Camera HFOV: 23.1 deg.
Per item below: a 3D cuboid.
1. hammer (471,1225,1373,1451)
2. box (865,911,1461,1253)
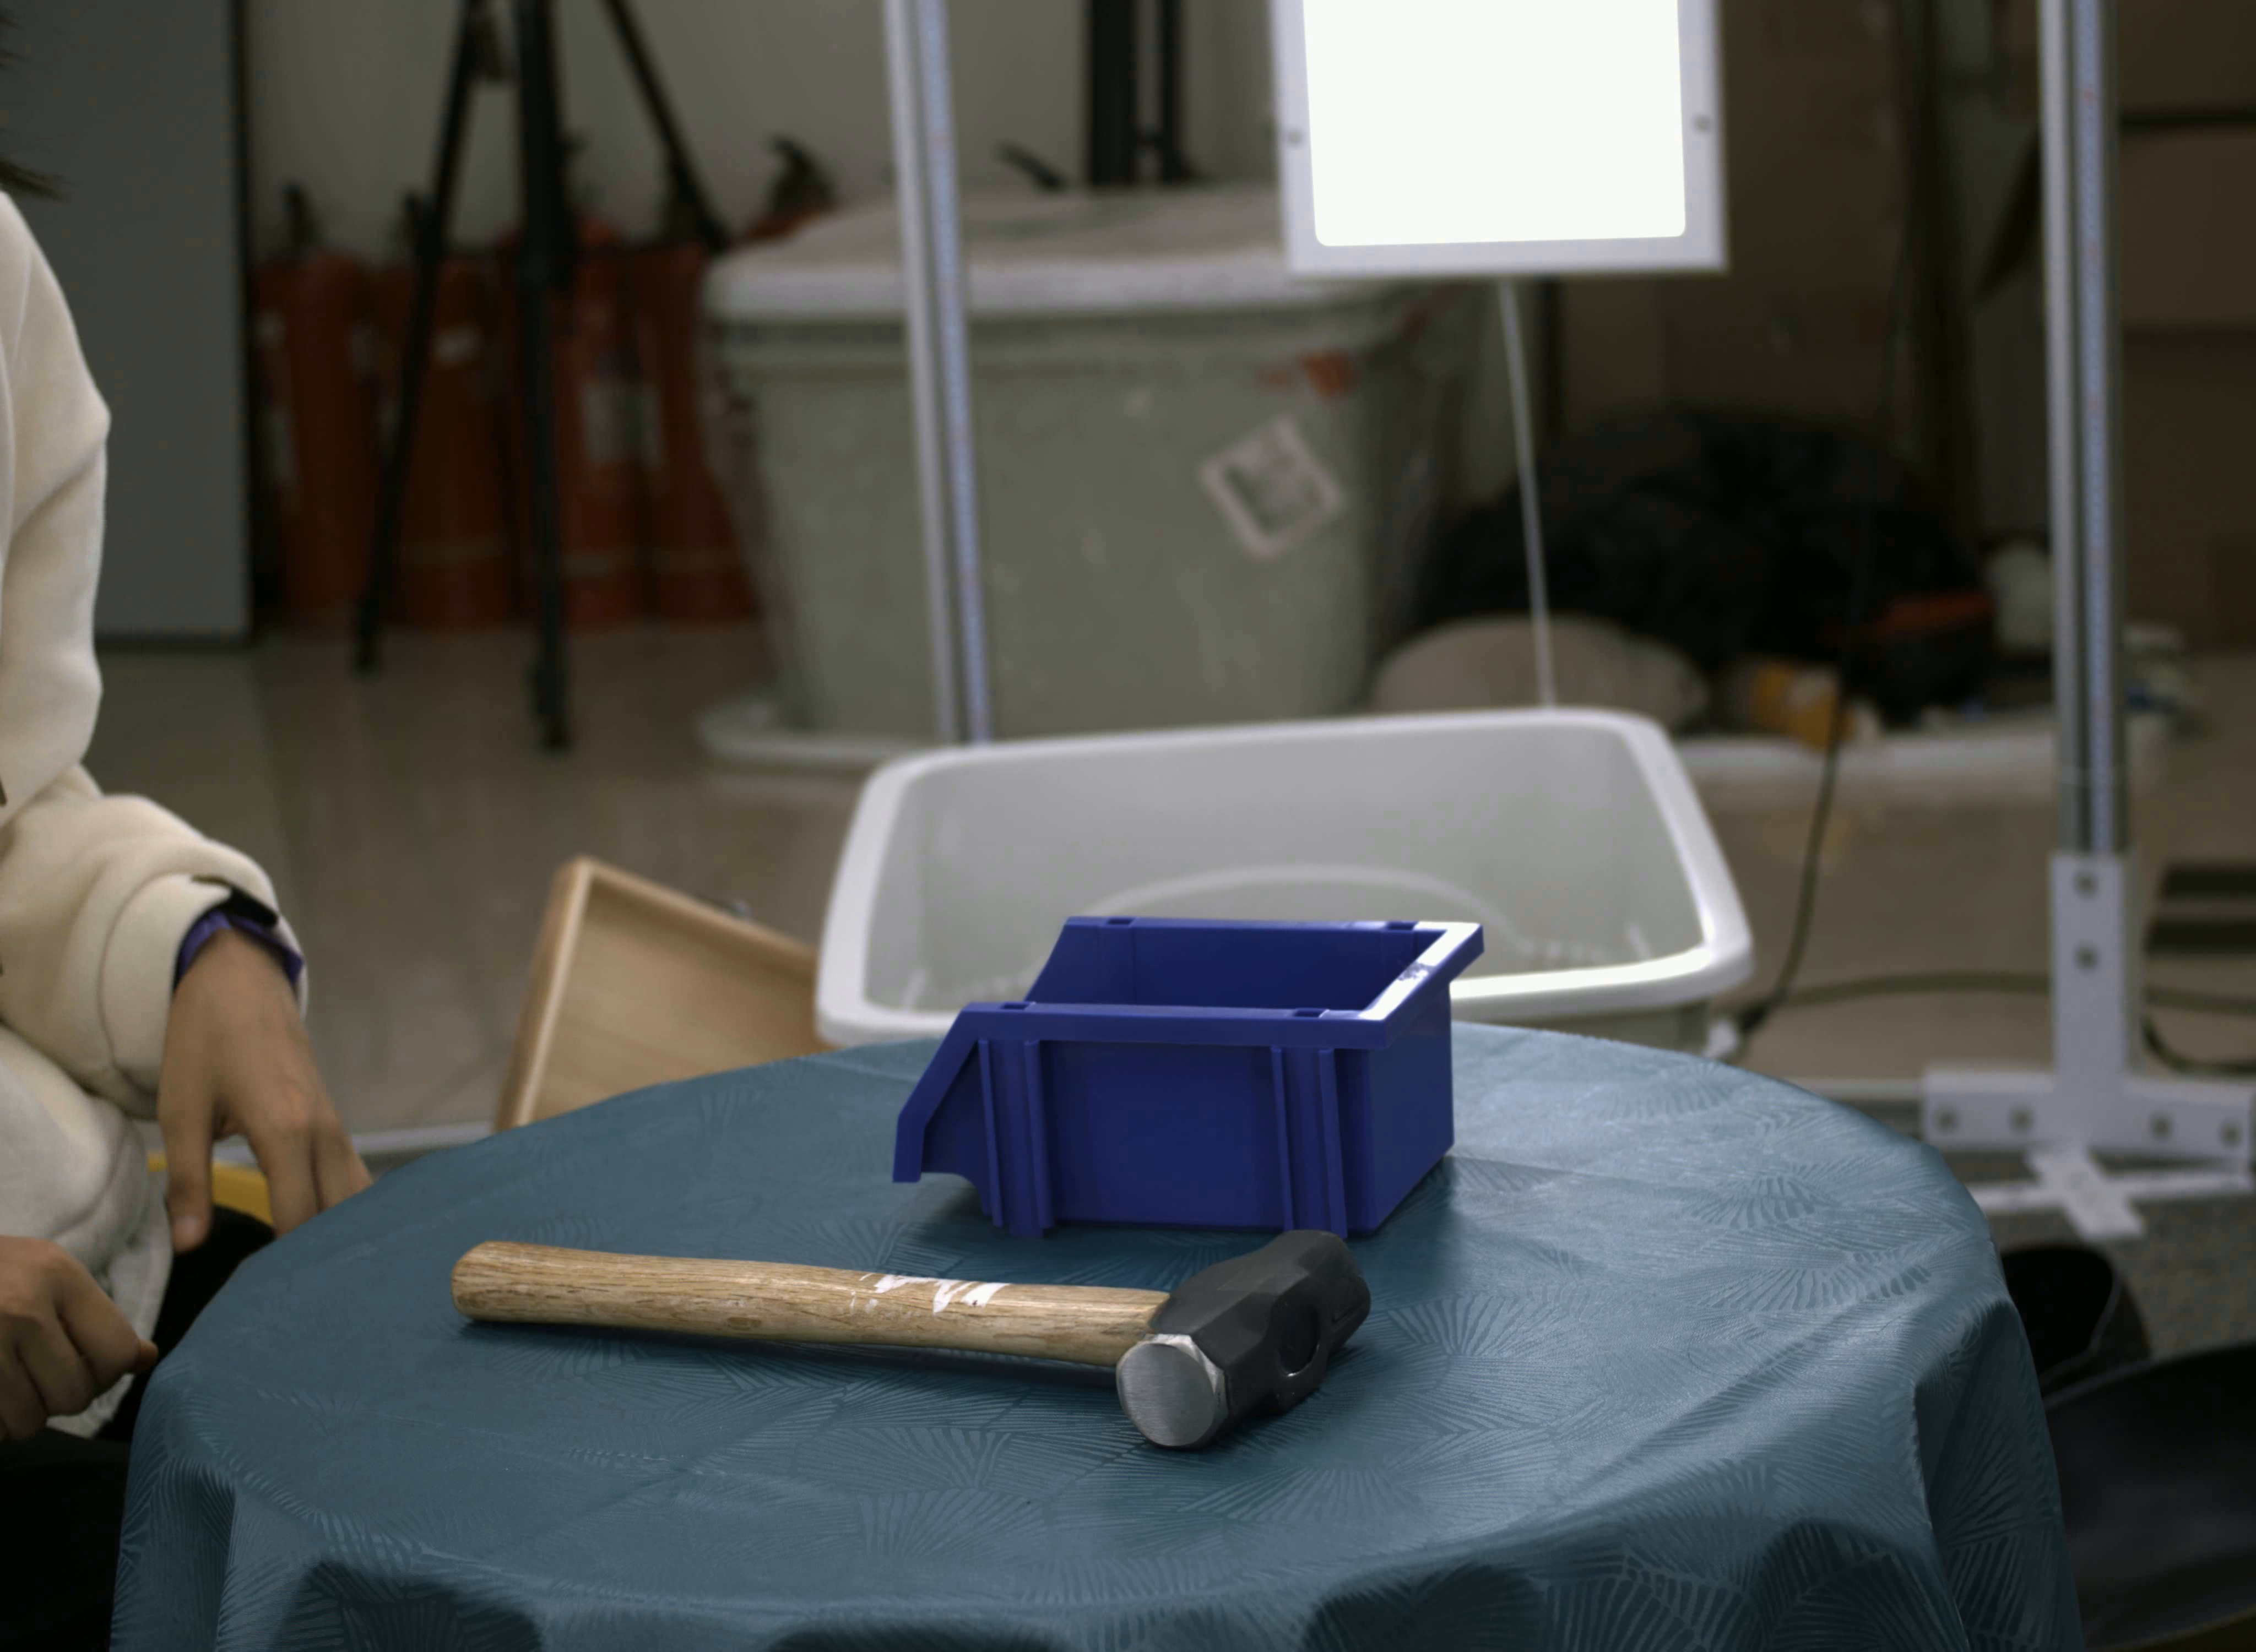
[{"bbox_3d":[-0.079,0.152,1.754,0.311,0.038,0.105,2,16,32],"label":"hammer"},{"bbox_3d":[0.012,0.086,1.890,0.182,0.082,0.122,3,16,22],"label":"box"}]
